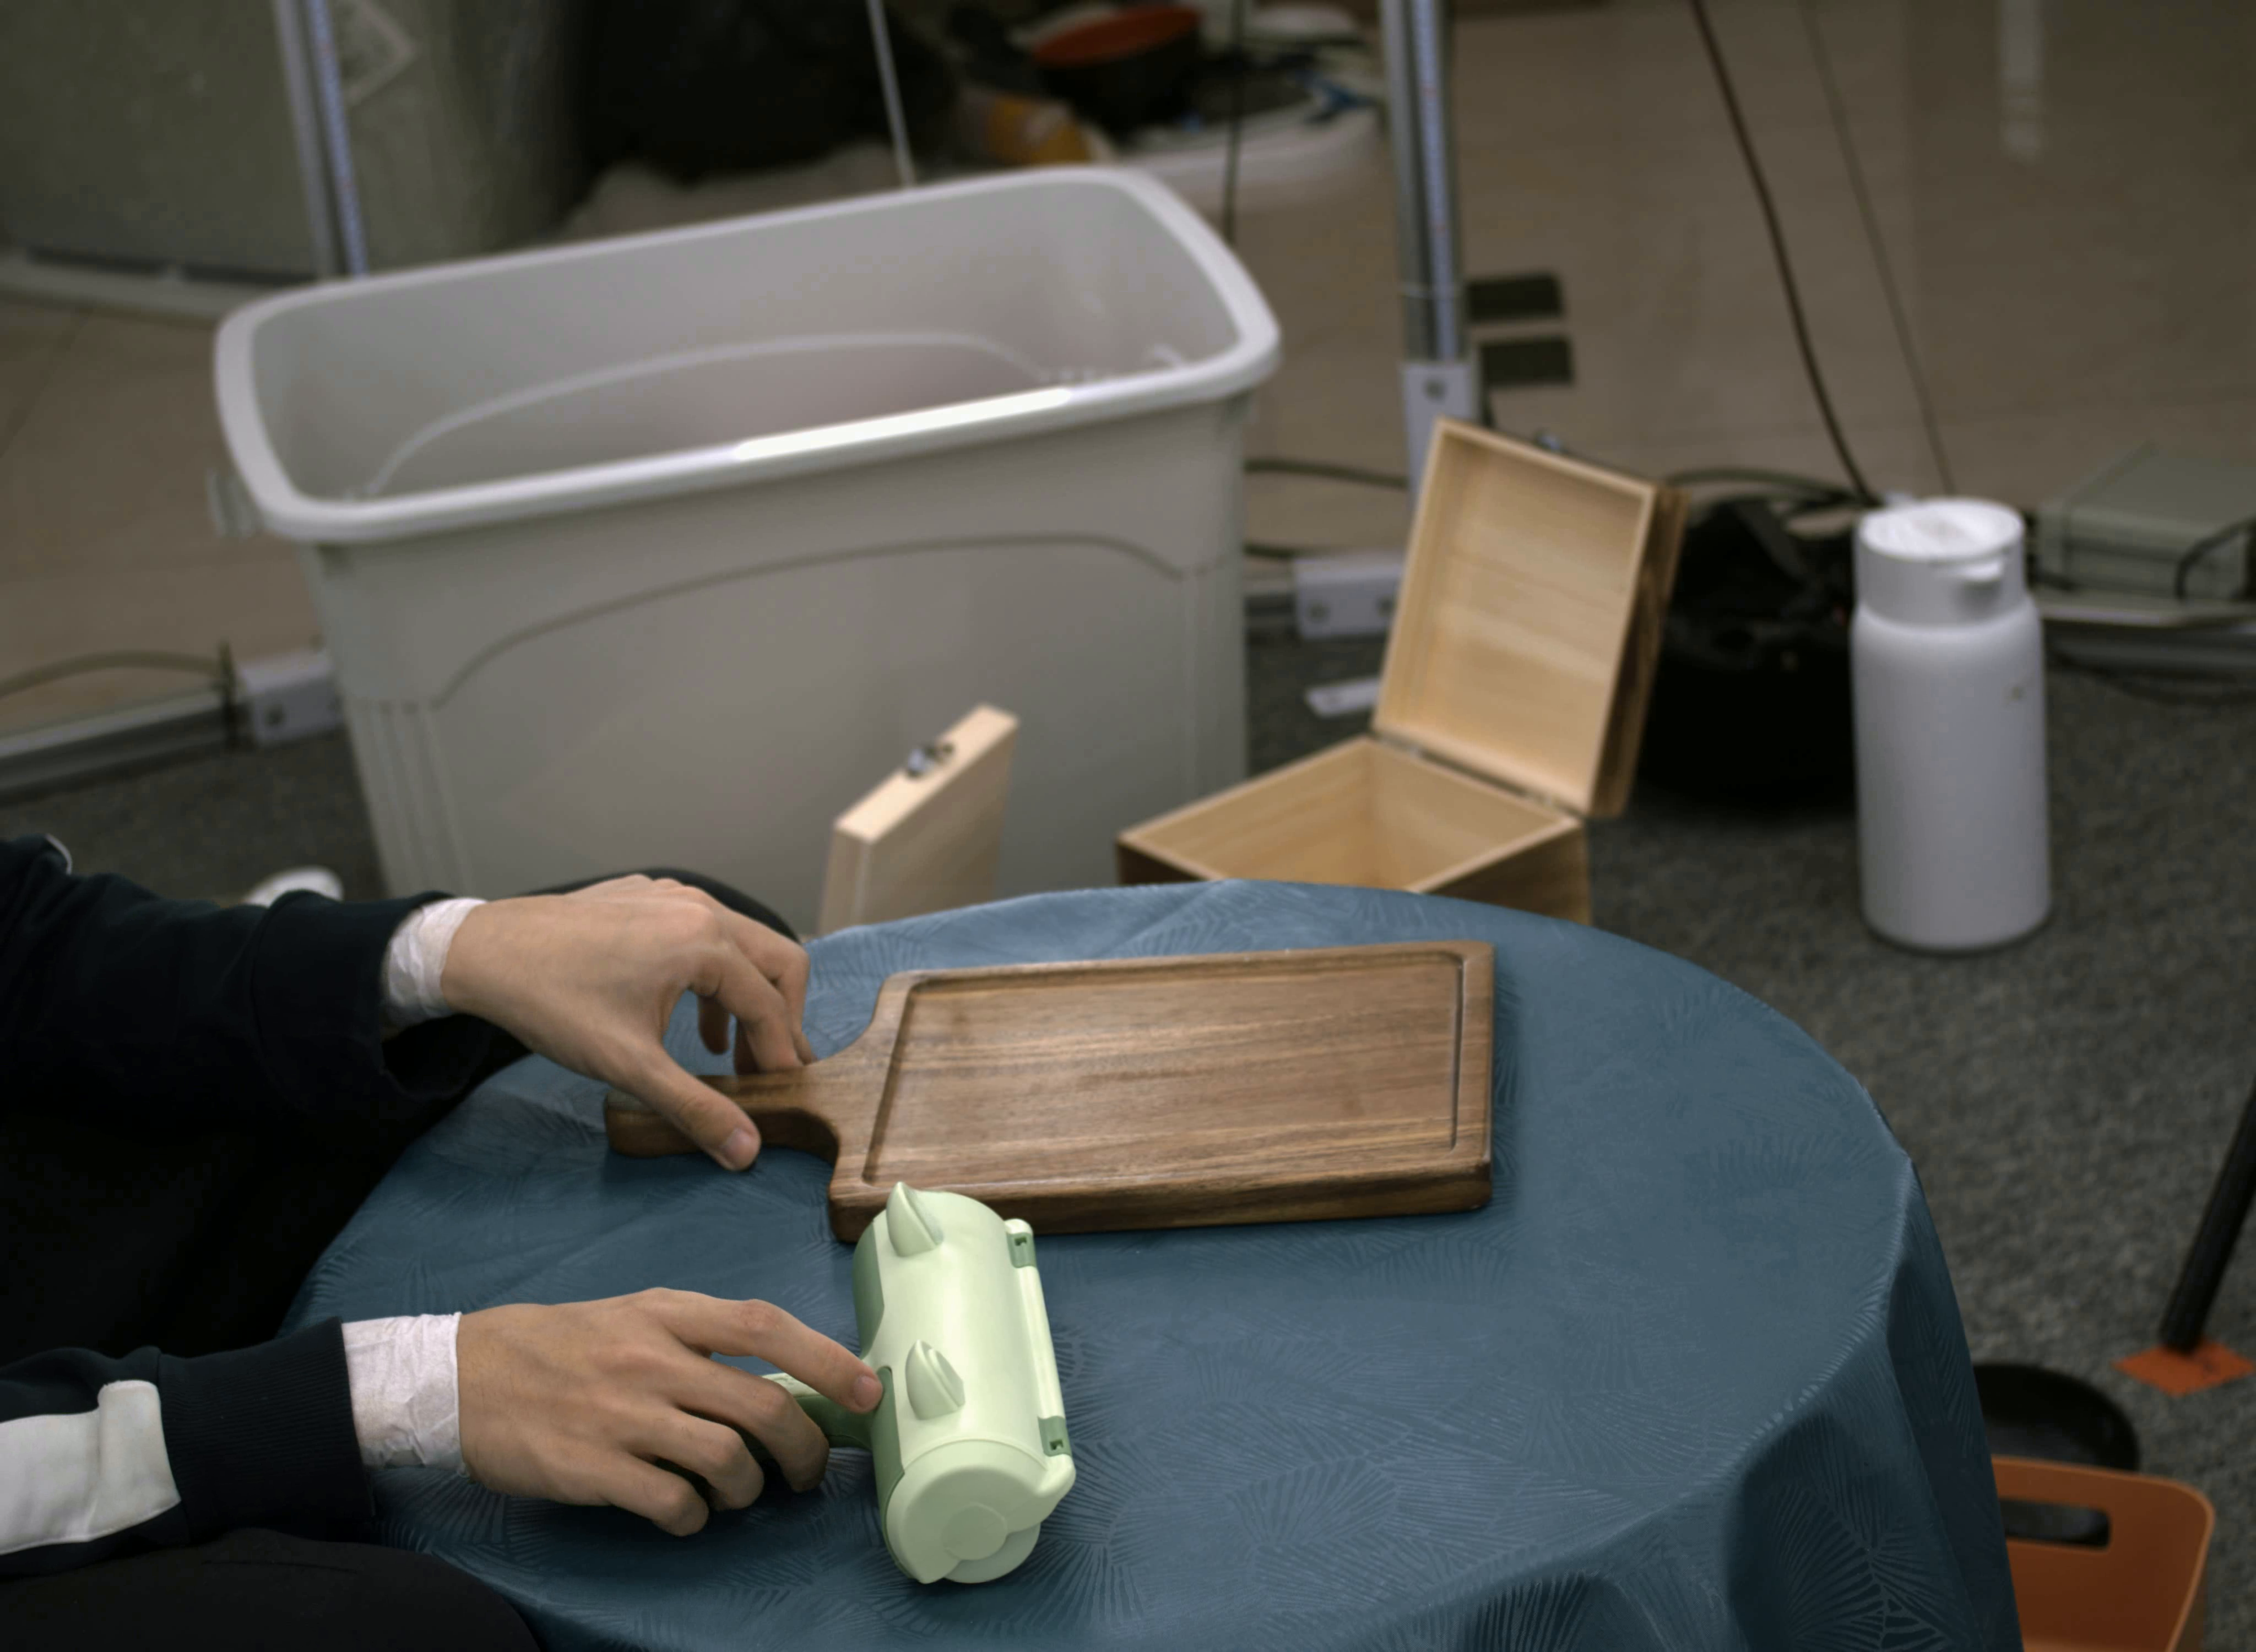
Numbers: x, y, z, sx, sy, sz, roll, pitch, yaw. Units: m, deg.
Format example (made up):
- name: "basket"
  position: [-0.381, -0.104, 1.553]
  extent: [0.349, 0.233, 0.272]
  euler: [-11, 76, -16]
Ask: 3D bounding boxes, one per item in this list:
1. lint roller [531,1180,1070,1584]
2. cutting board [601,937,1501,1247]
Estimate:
- name: "lint roller"
  position: [-0.118, 0.190, 1.971]
  extent: [0.183, 0.083, 0.195]
  euler: [-4, 25, -4]
- name: "cutting board"
  position: [-0.031, 0.104, 2.202]
  extent: [0.351, 0.023, 0.198]
  euler: [-4, 25, 6]
